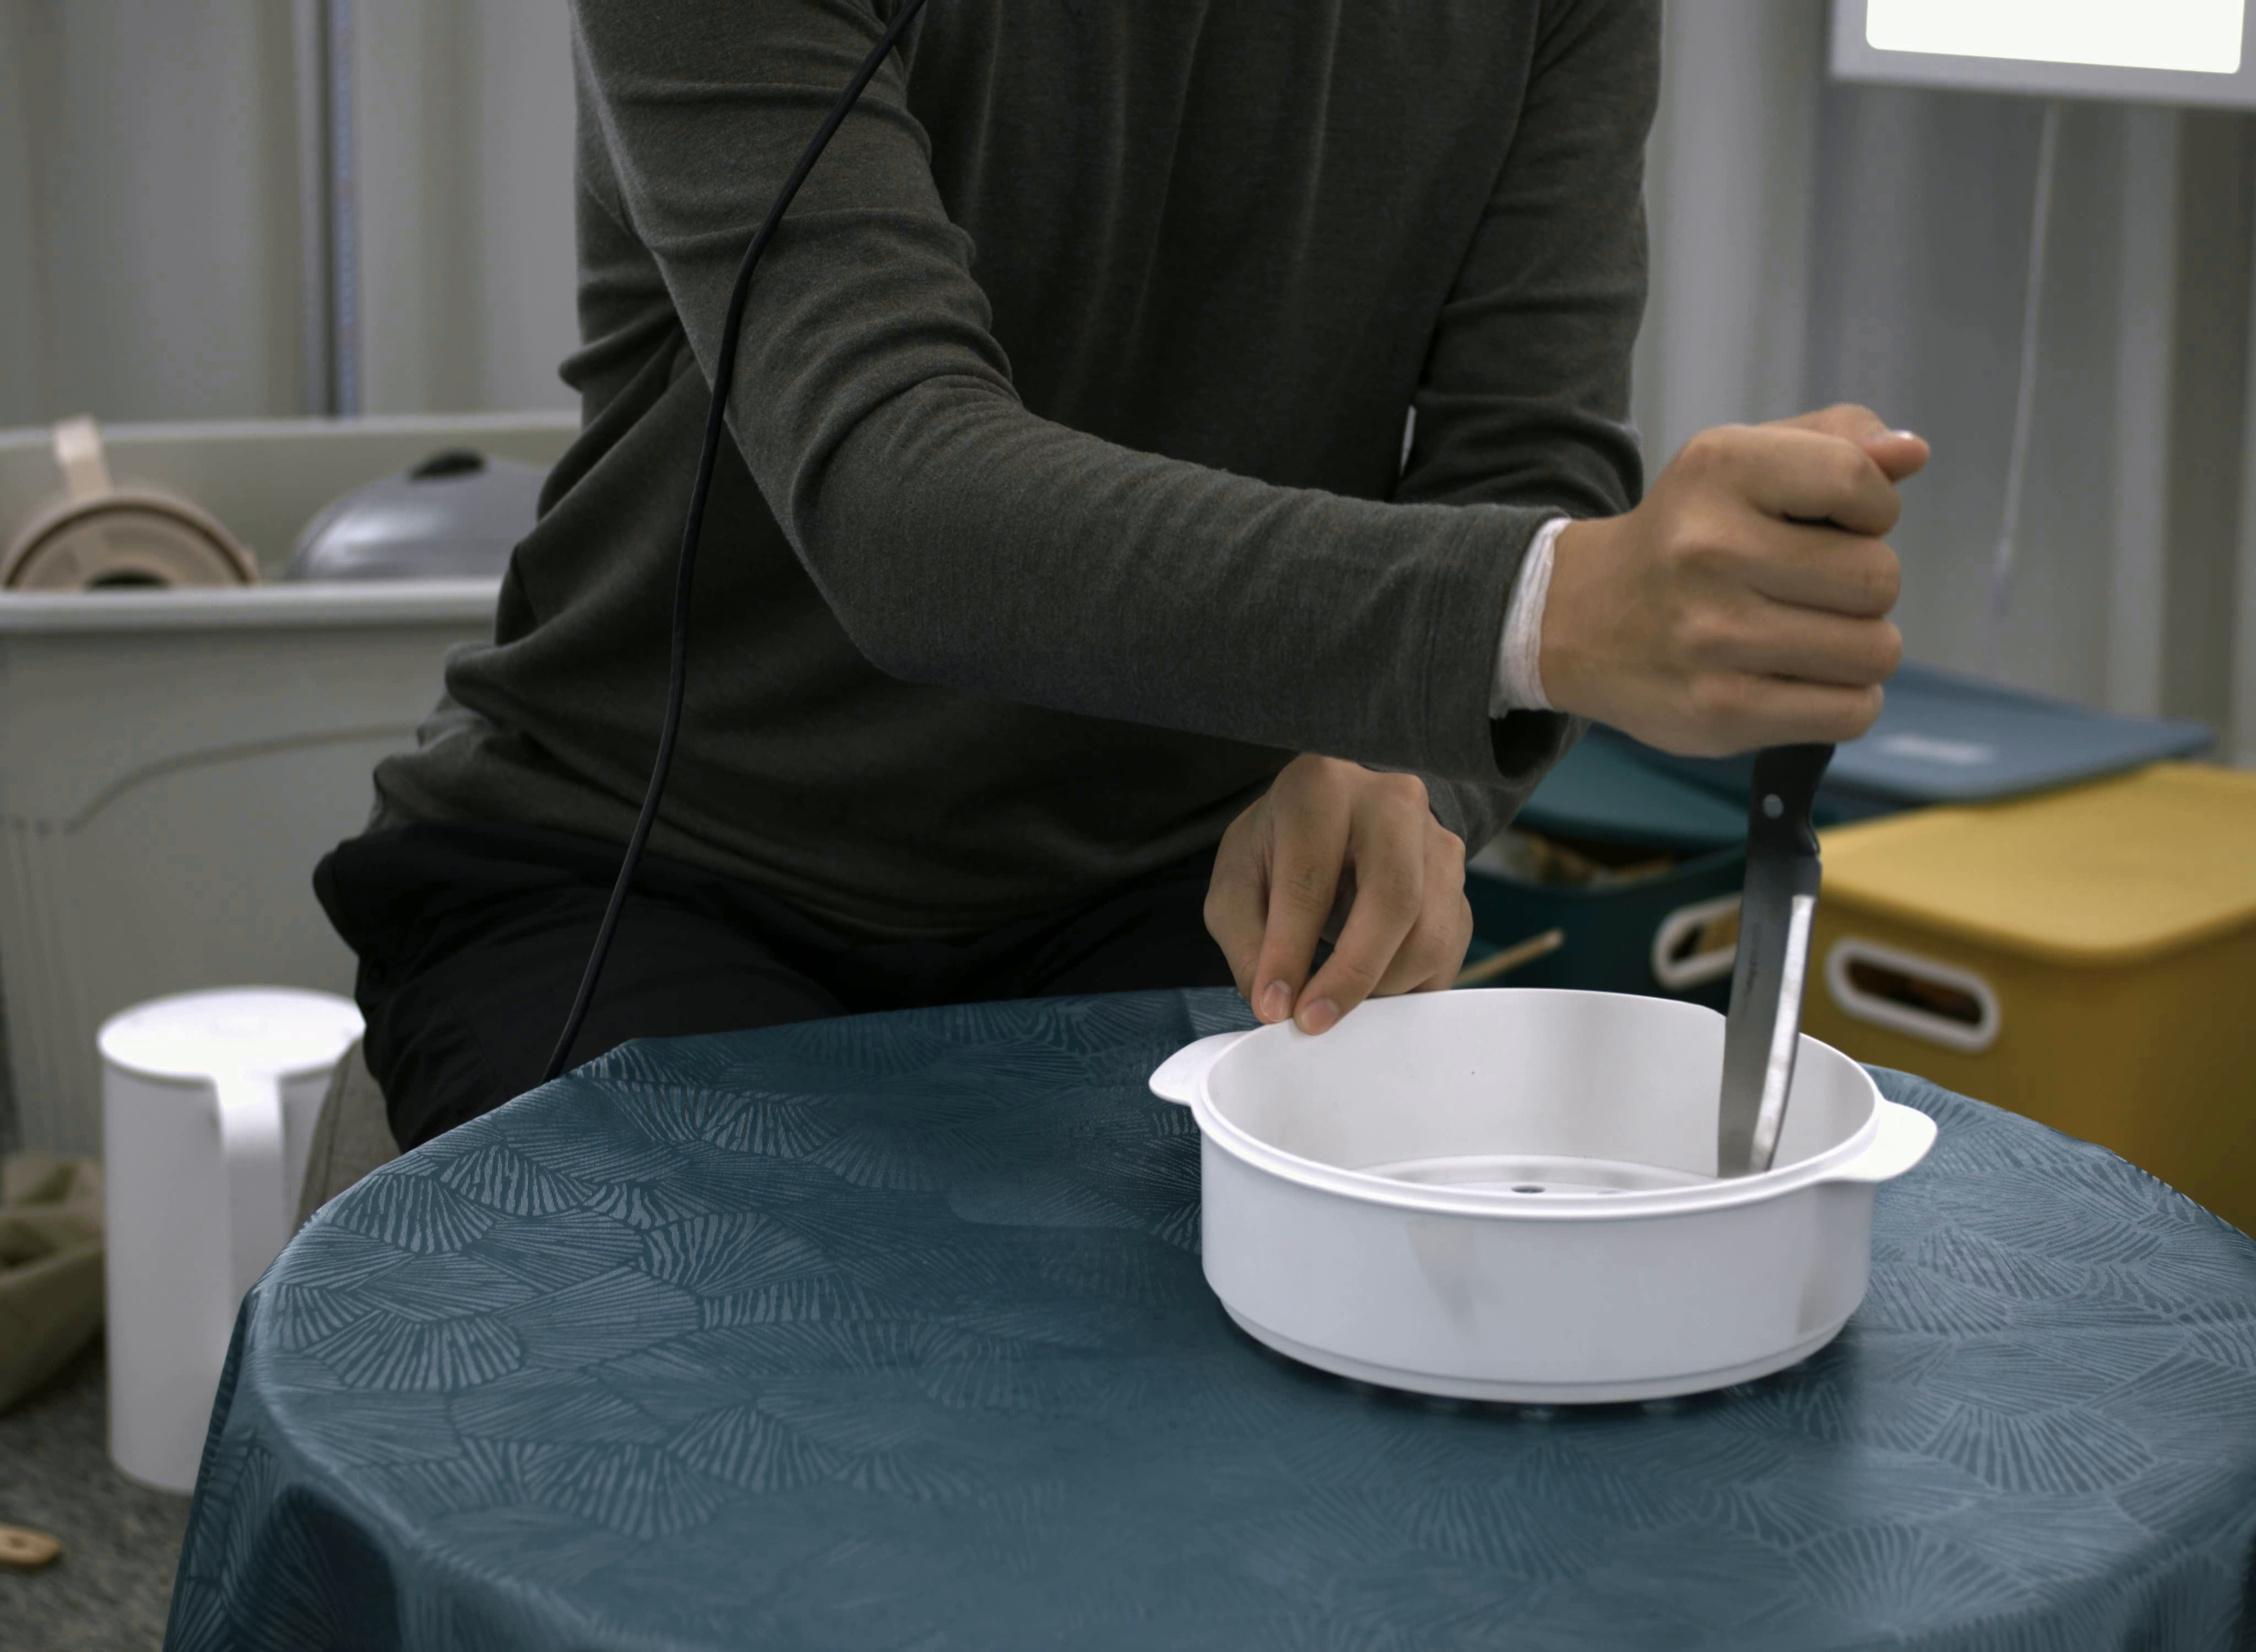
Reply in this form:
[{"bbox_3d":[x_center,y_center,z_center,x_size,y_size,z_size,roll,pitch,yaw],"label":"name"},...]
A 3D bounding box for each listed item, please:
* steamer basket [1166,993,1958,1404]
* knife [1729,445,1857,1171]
[{"bbox_3d":[0.123,0.106,1.522,0.228,0.070,0.202,6,16,21],"label":"steamer basket"},{"bbox_3d":[0.181,0.010,1.462,0.024,0.240,0.016,13,21,29],"label":"knife"}]
